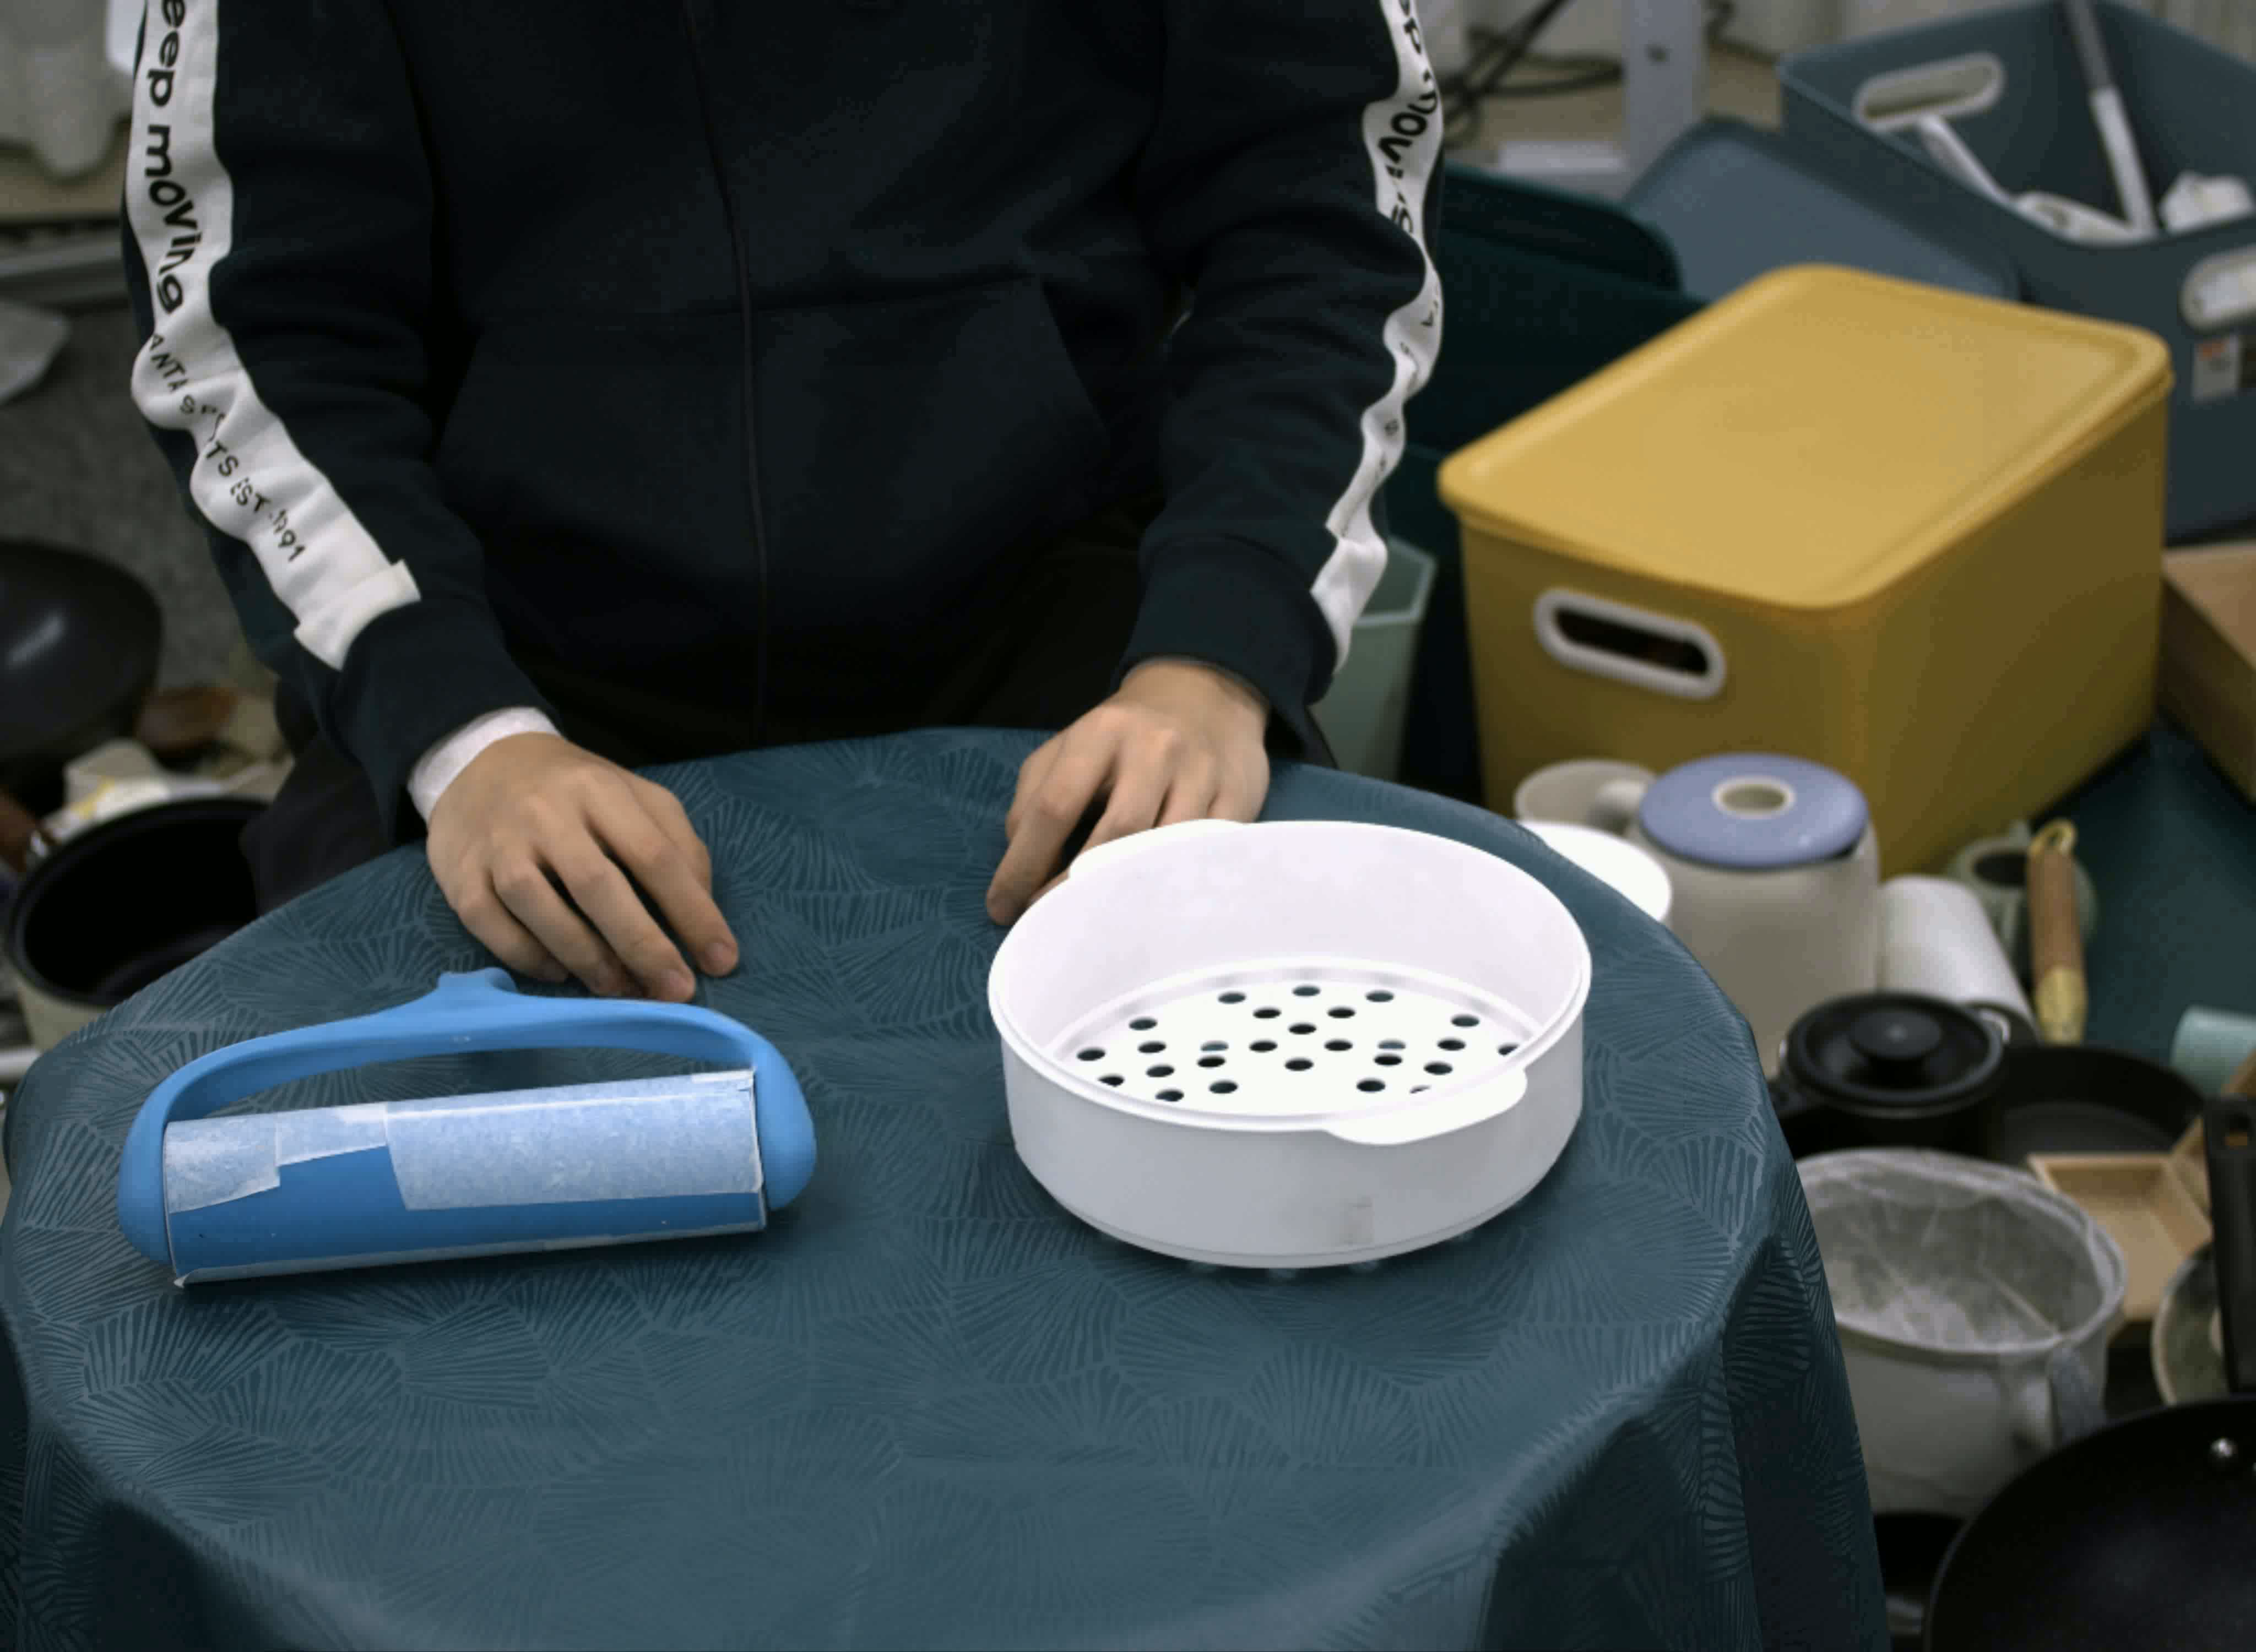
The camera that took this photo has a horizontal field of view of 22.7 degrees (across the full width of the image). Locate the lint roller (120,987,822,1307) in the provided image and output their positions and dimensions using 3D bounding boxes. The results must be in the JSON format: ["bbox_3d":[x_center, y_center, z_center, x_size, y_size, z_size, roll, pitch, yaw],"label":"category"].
[{"bbox_3d":[-0.223,0.090,1.885,0.228,0.067,0.182,-9,29,-7],"label":"lint roller"}]

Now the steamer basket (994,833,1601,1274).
[{"bbox_3d":[0.057,0.076,1.869,0.203,0.068,0.232,-14,29,-22],"label":"steamer basket"}]
